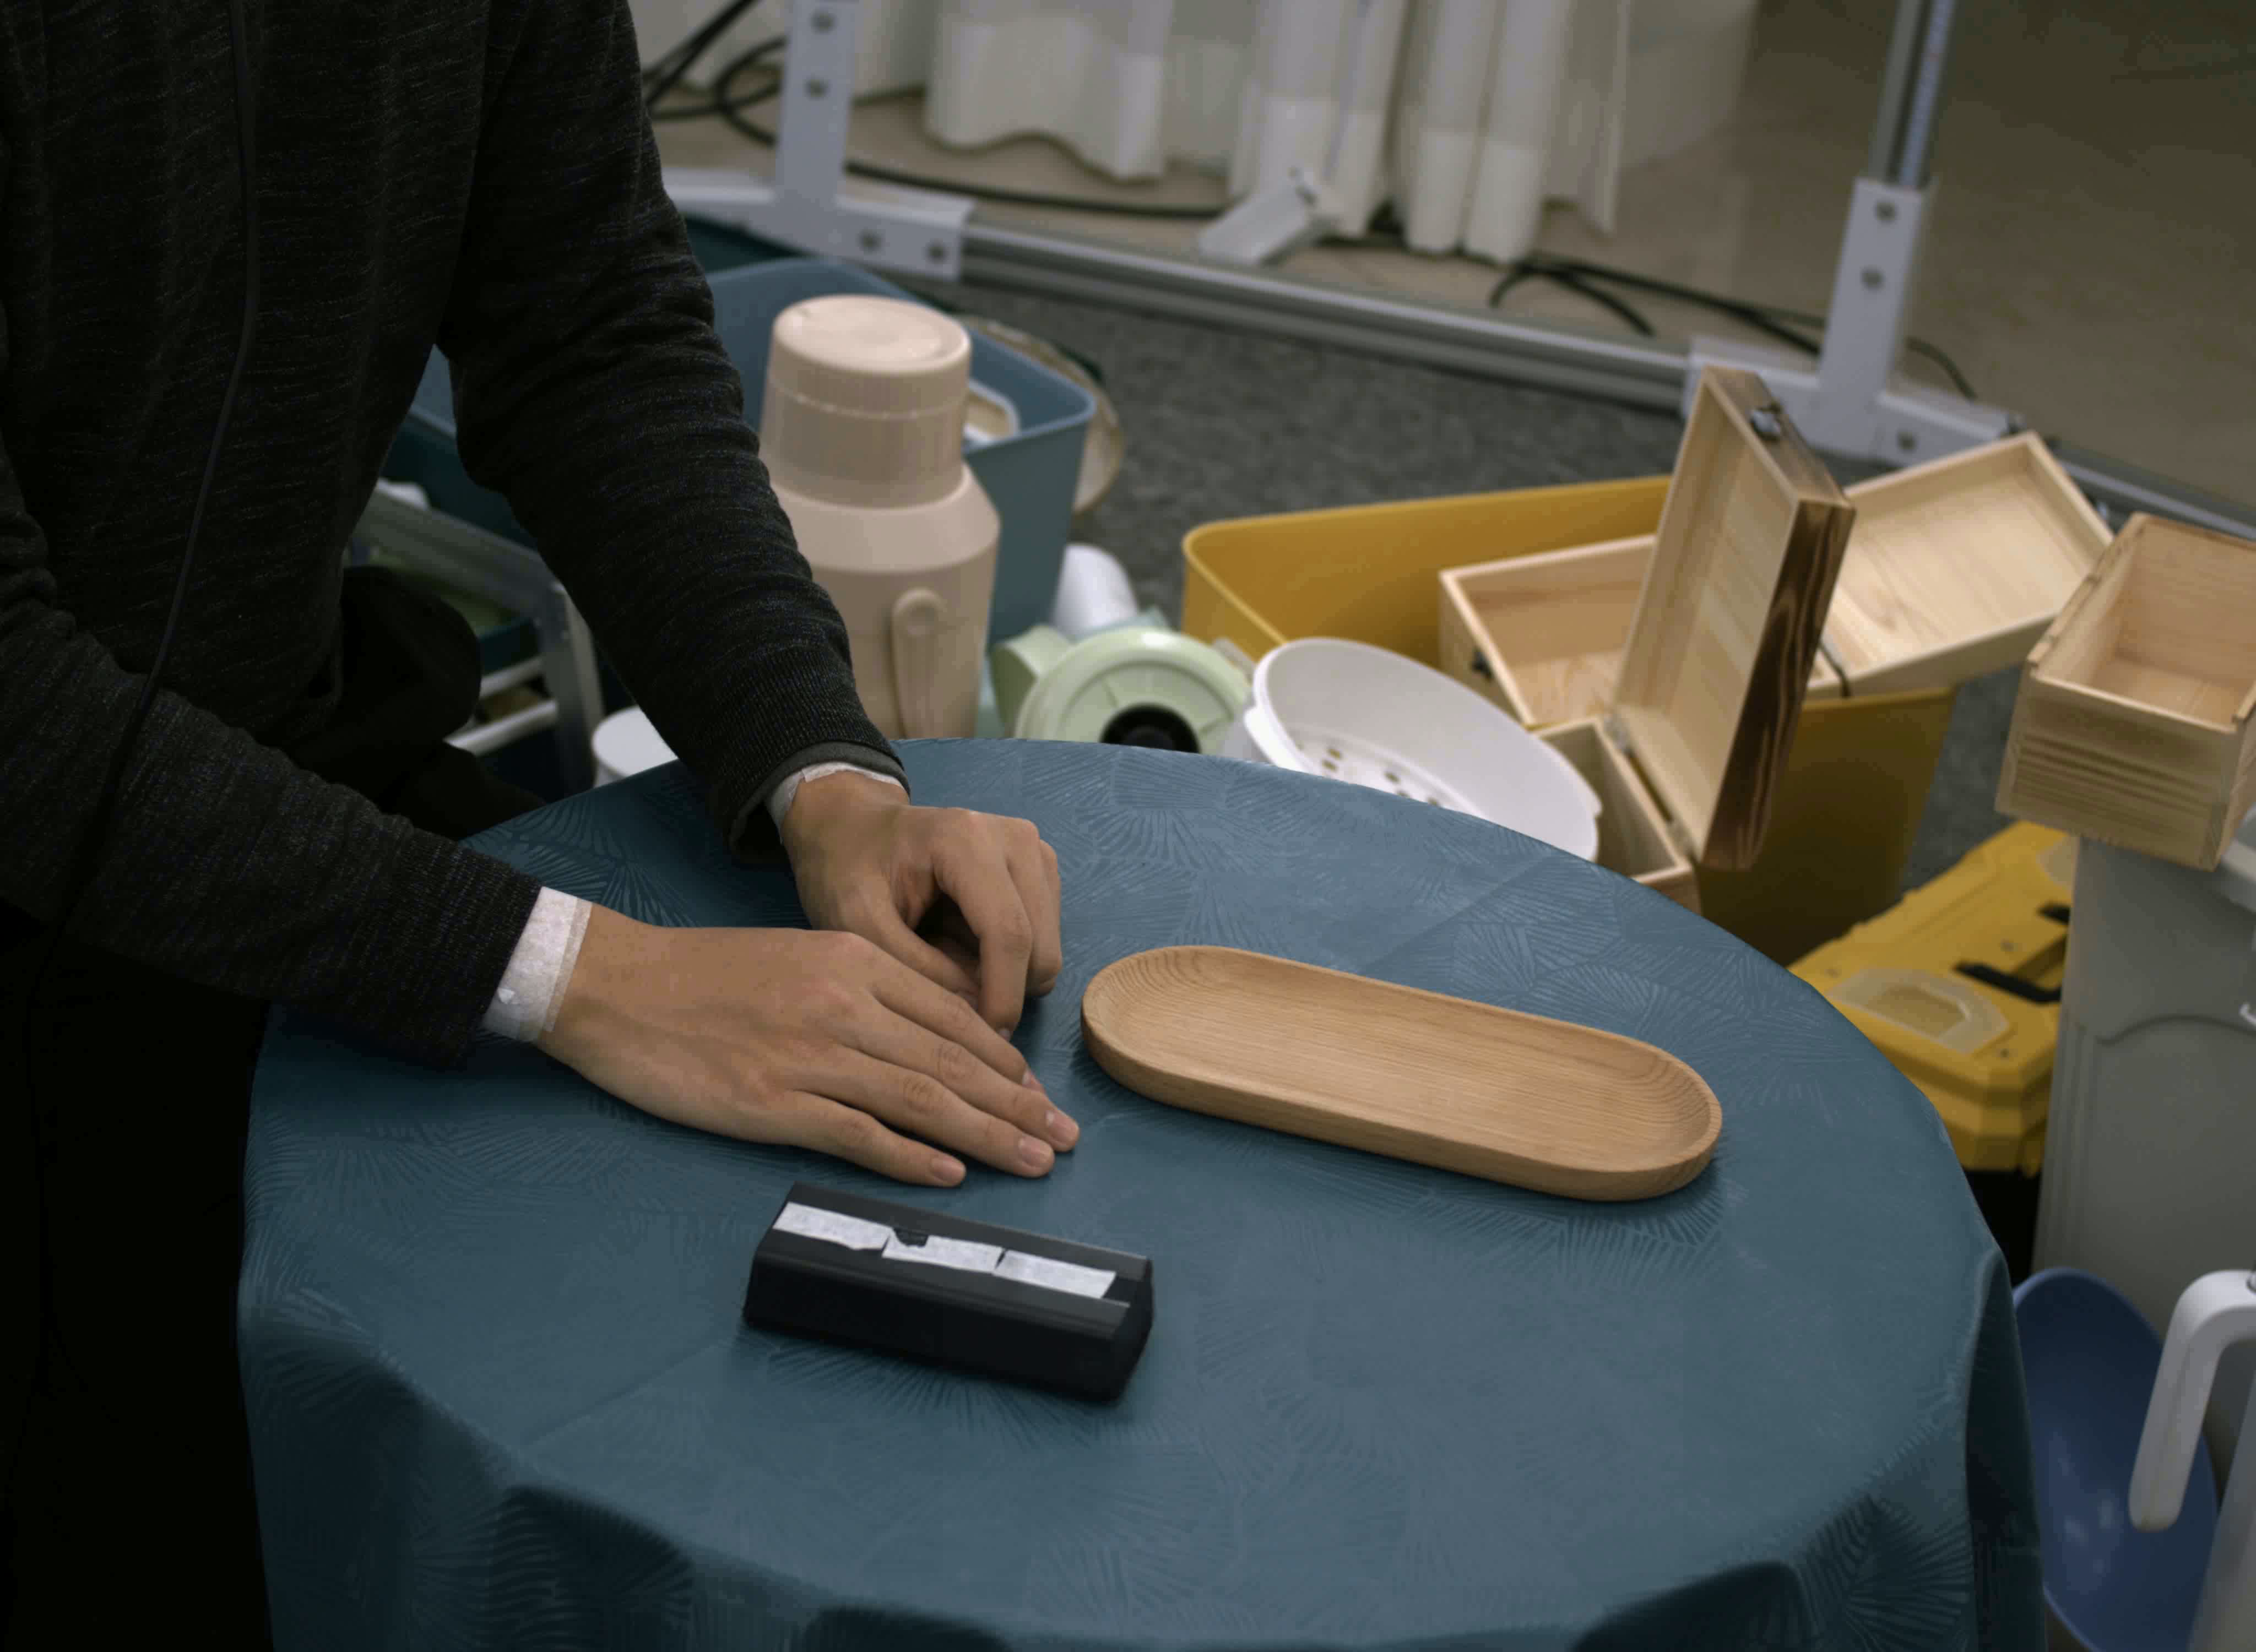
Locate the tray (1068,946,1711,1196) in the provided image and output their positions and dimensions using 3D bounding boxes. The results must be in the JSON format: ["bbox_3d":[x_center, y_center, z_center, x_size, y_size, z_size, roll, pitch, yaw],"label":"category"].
[{"bbox_3d":[0.091,0.086,1.877,0.231,0.020,0.102,11,26,12],"label":"tray"}]

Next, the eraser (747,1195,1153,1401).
[{"bbox_3d":[-0.057,0.151,1.705,0.125,0.030,0.053,10,24,10],"label":"eraser"}]
